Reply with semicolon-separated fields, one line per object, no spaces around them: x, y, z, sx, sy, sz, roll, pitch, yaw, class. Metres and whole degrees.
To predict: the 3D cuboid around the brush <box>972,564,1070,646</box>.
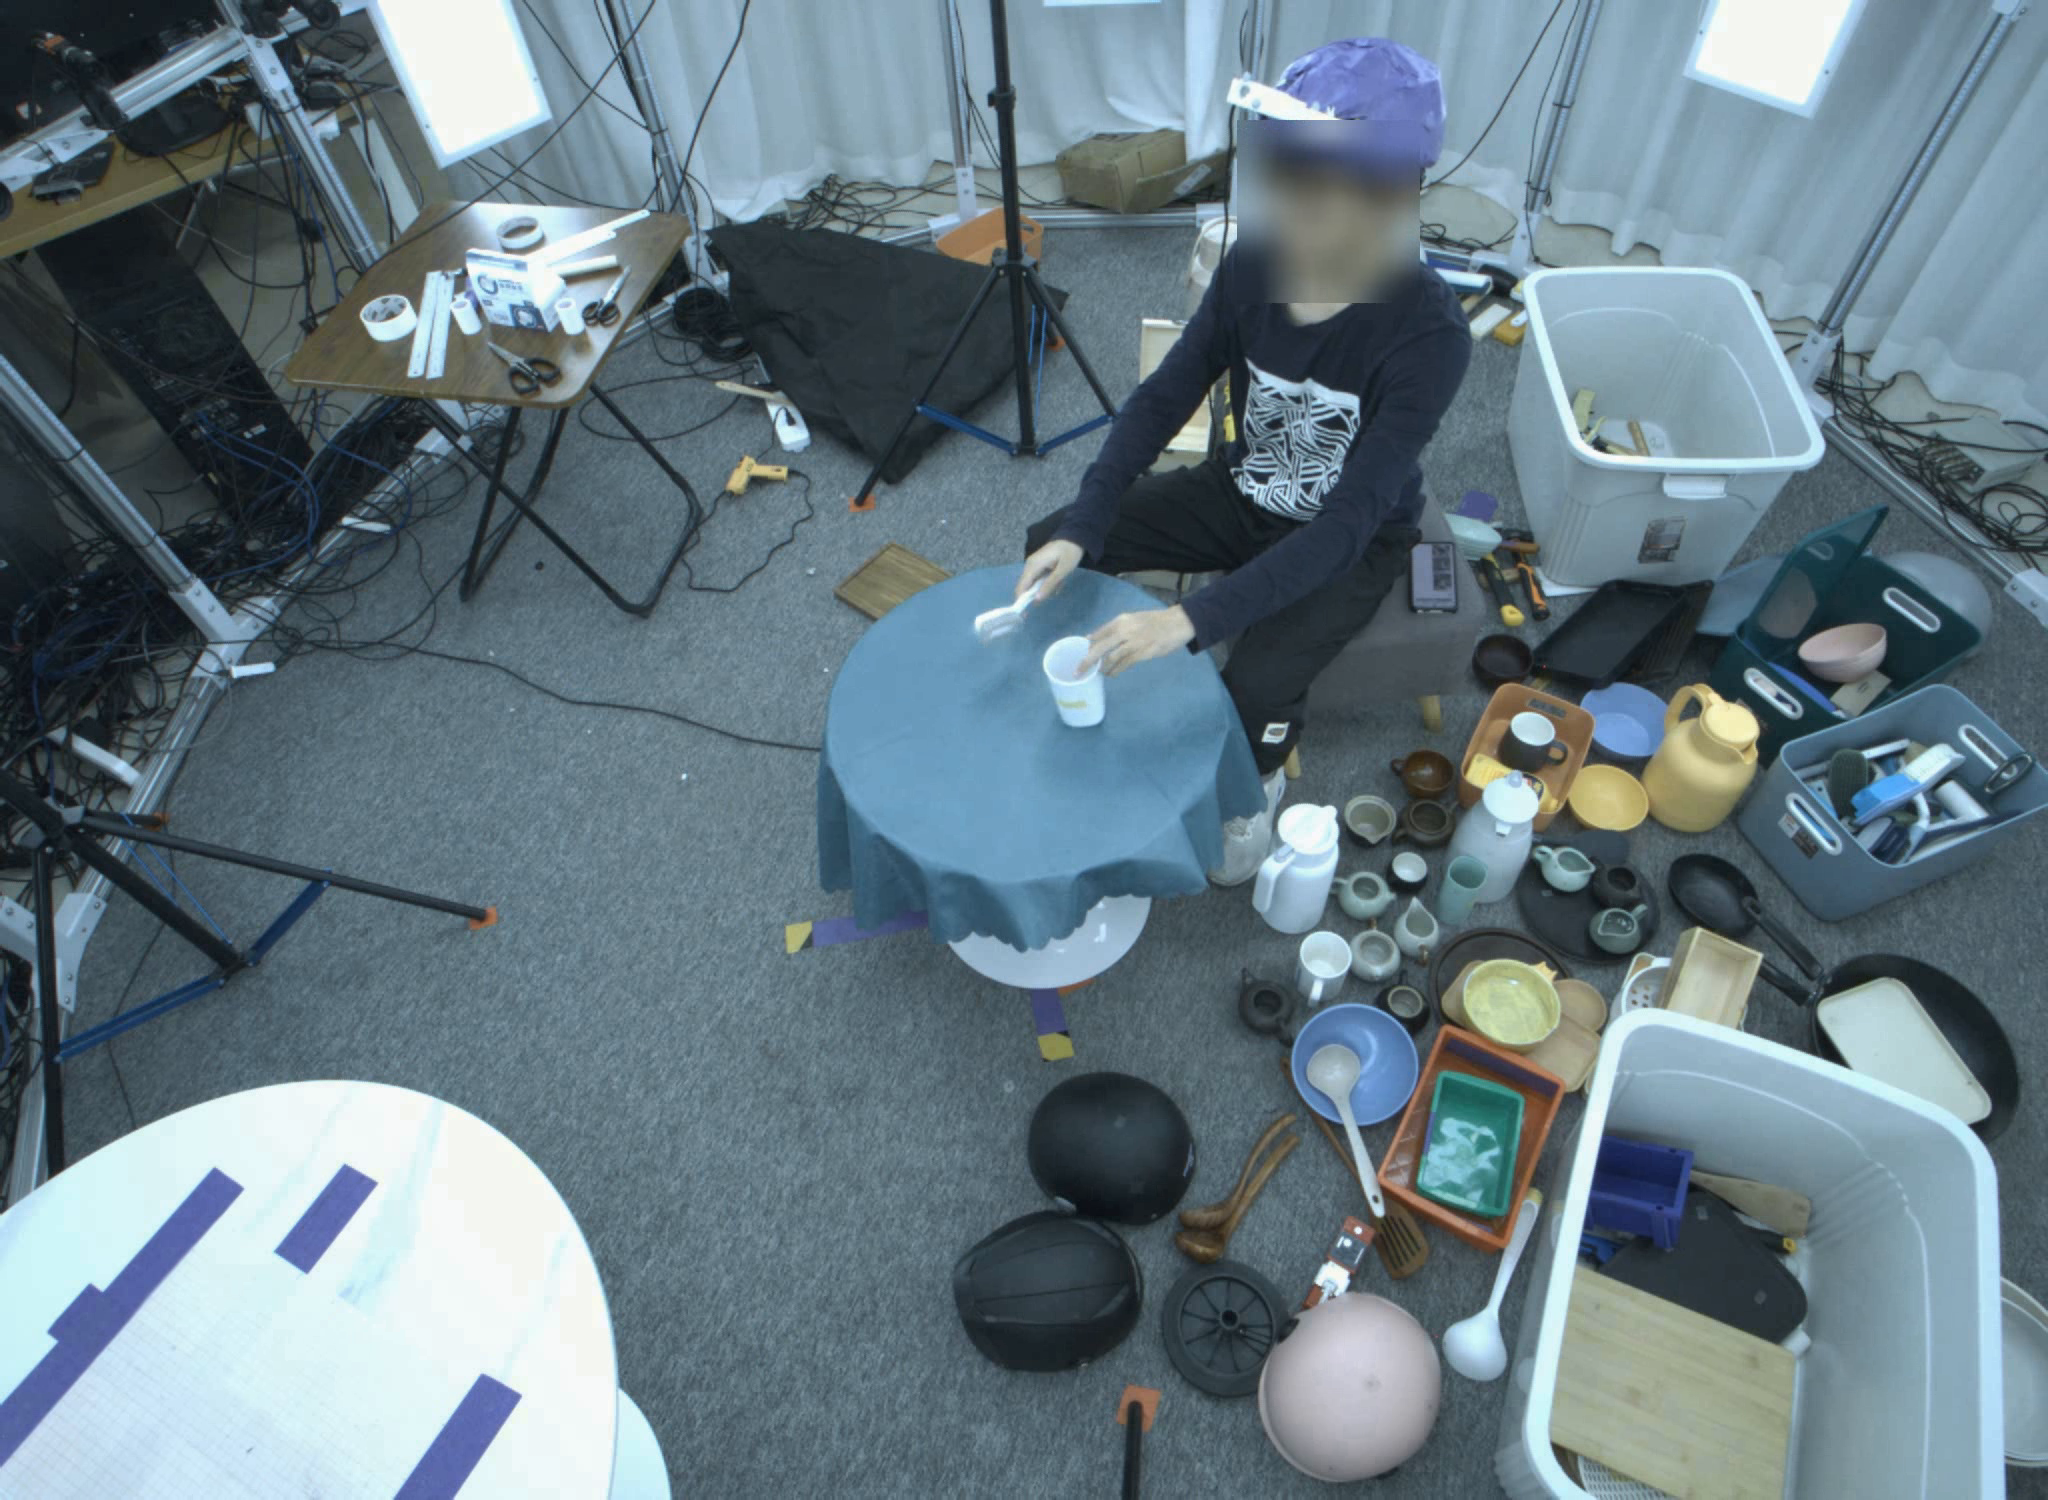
0.010;-0.222;1.858;0.049;0.034;0.246;28;45;26;brush

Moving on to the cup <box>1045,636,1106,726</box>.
0.079;-0.094;1.762;0.081;0.127;0.081;-3;59;7;cup
